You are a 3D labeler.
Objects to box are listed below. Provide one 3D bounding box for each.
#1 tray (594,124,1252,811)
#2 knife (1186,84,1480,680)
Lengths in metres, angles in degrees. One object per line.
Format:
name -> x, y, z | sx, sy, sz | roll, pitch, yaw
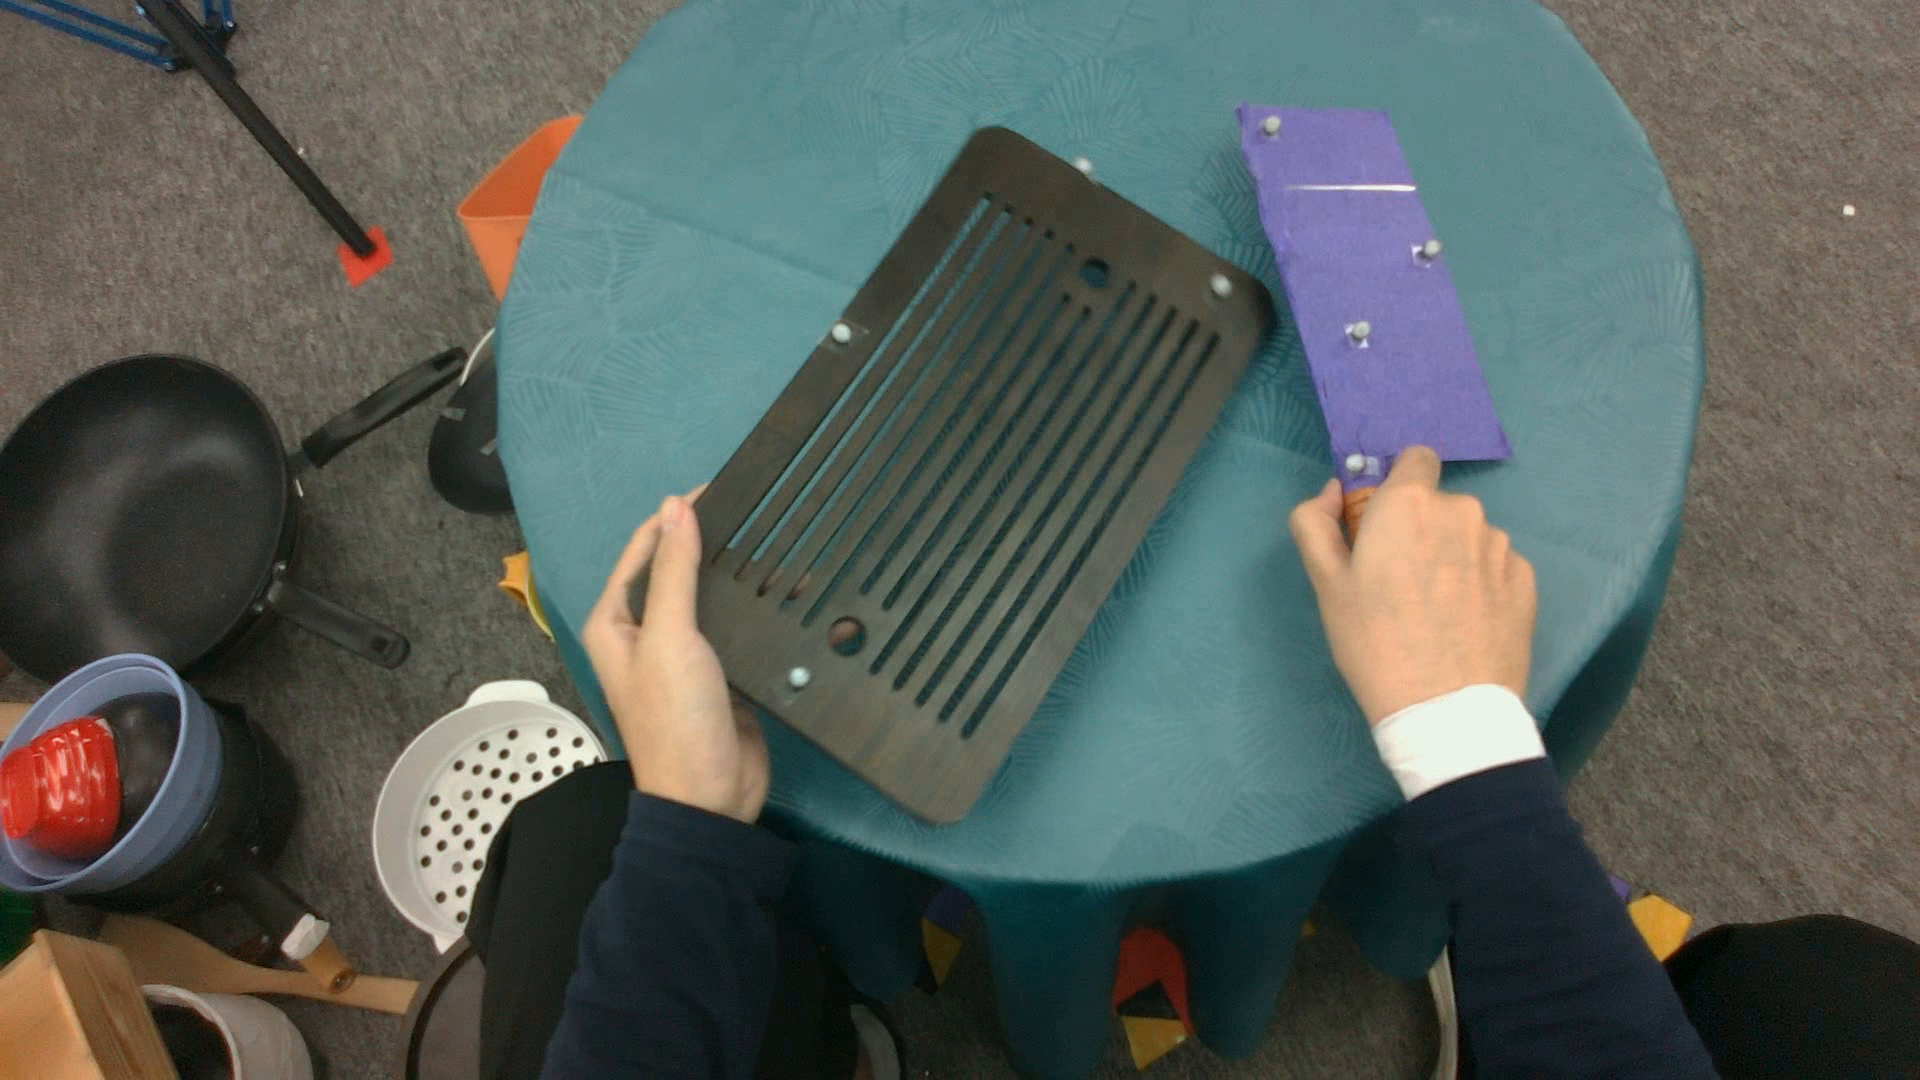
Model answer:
tray -> -0.006, -0.046, 0.620 | 0.170, 0.018, 0.307 | 34, 67, 3
knife -> 0.190, -0.090, 0.641 | 0.104, 0.032, 0.316 | -4, 67, -16
